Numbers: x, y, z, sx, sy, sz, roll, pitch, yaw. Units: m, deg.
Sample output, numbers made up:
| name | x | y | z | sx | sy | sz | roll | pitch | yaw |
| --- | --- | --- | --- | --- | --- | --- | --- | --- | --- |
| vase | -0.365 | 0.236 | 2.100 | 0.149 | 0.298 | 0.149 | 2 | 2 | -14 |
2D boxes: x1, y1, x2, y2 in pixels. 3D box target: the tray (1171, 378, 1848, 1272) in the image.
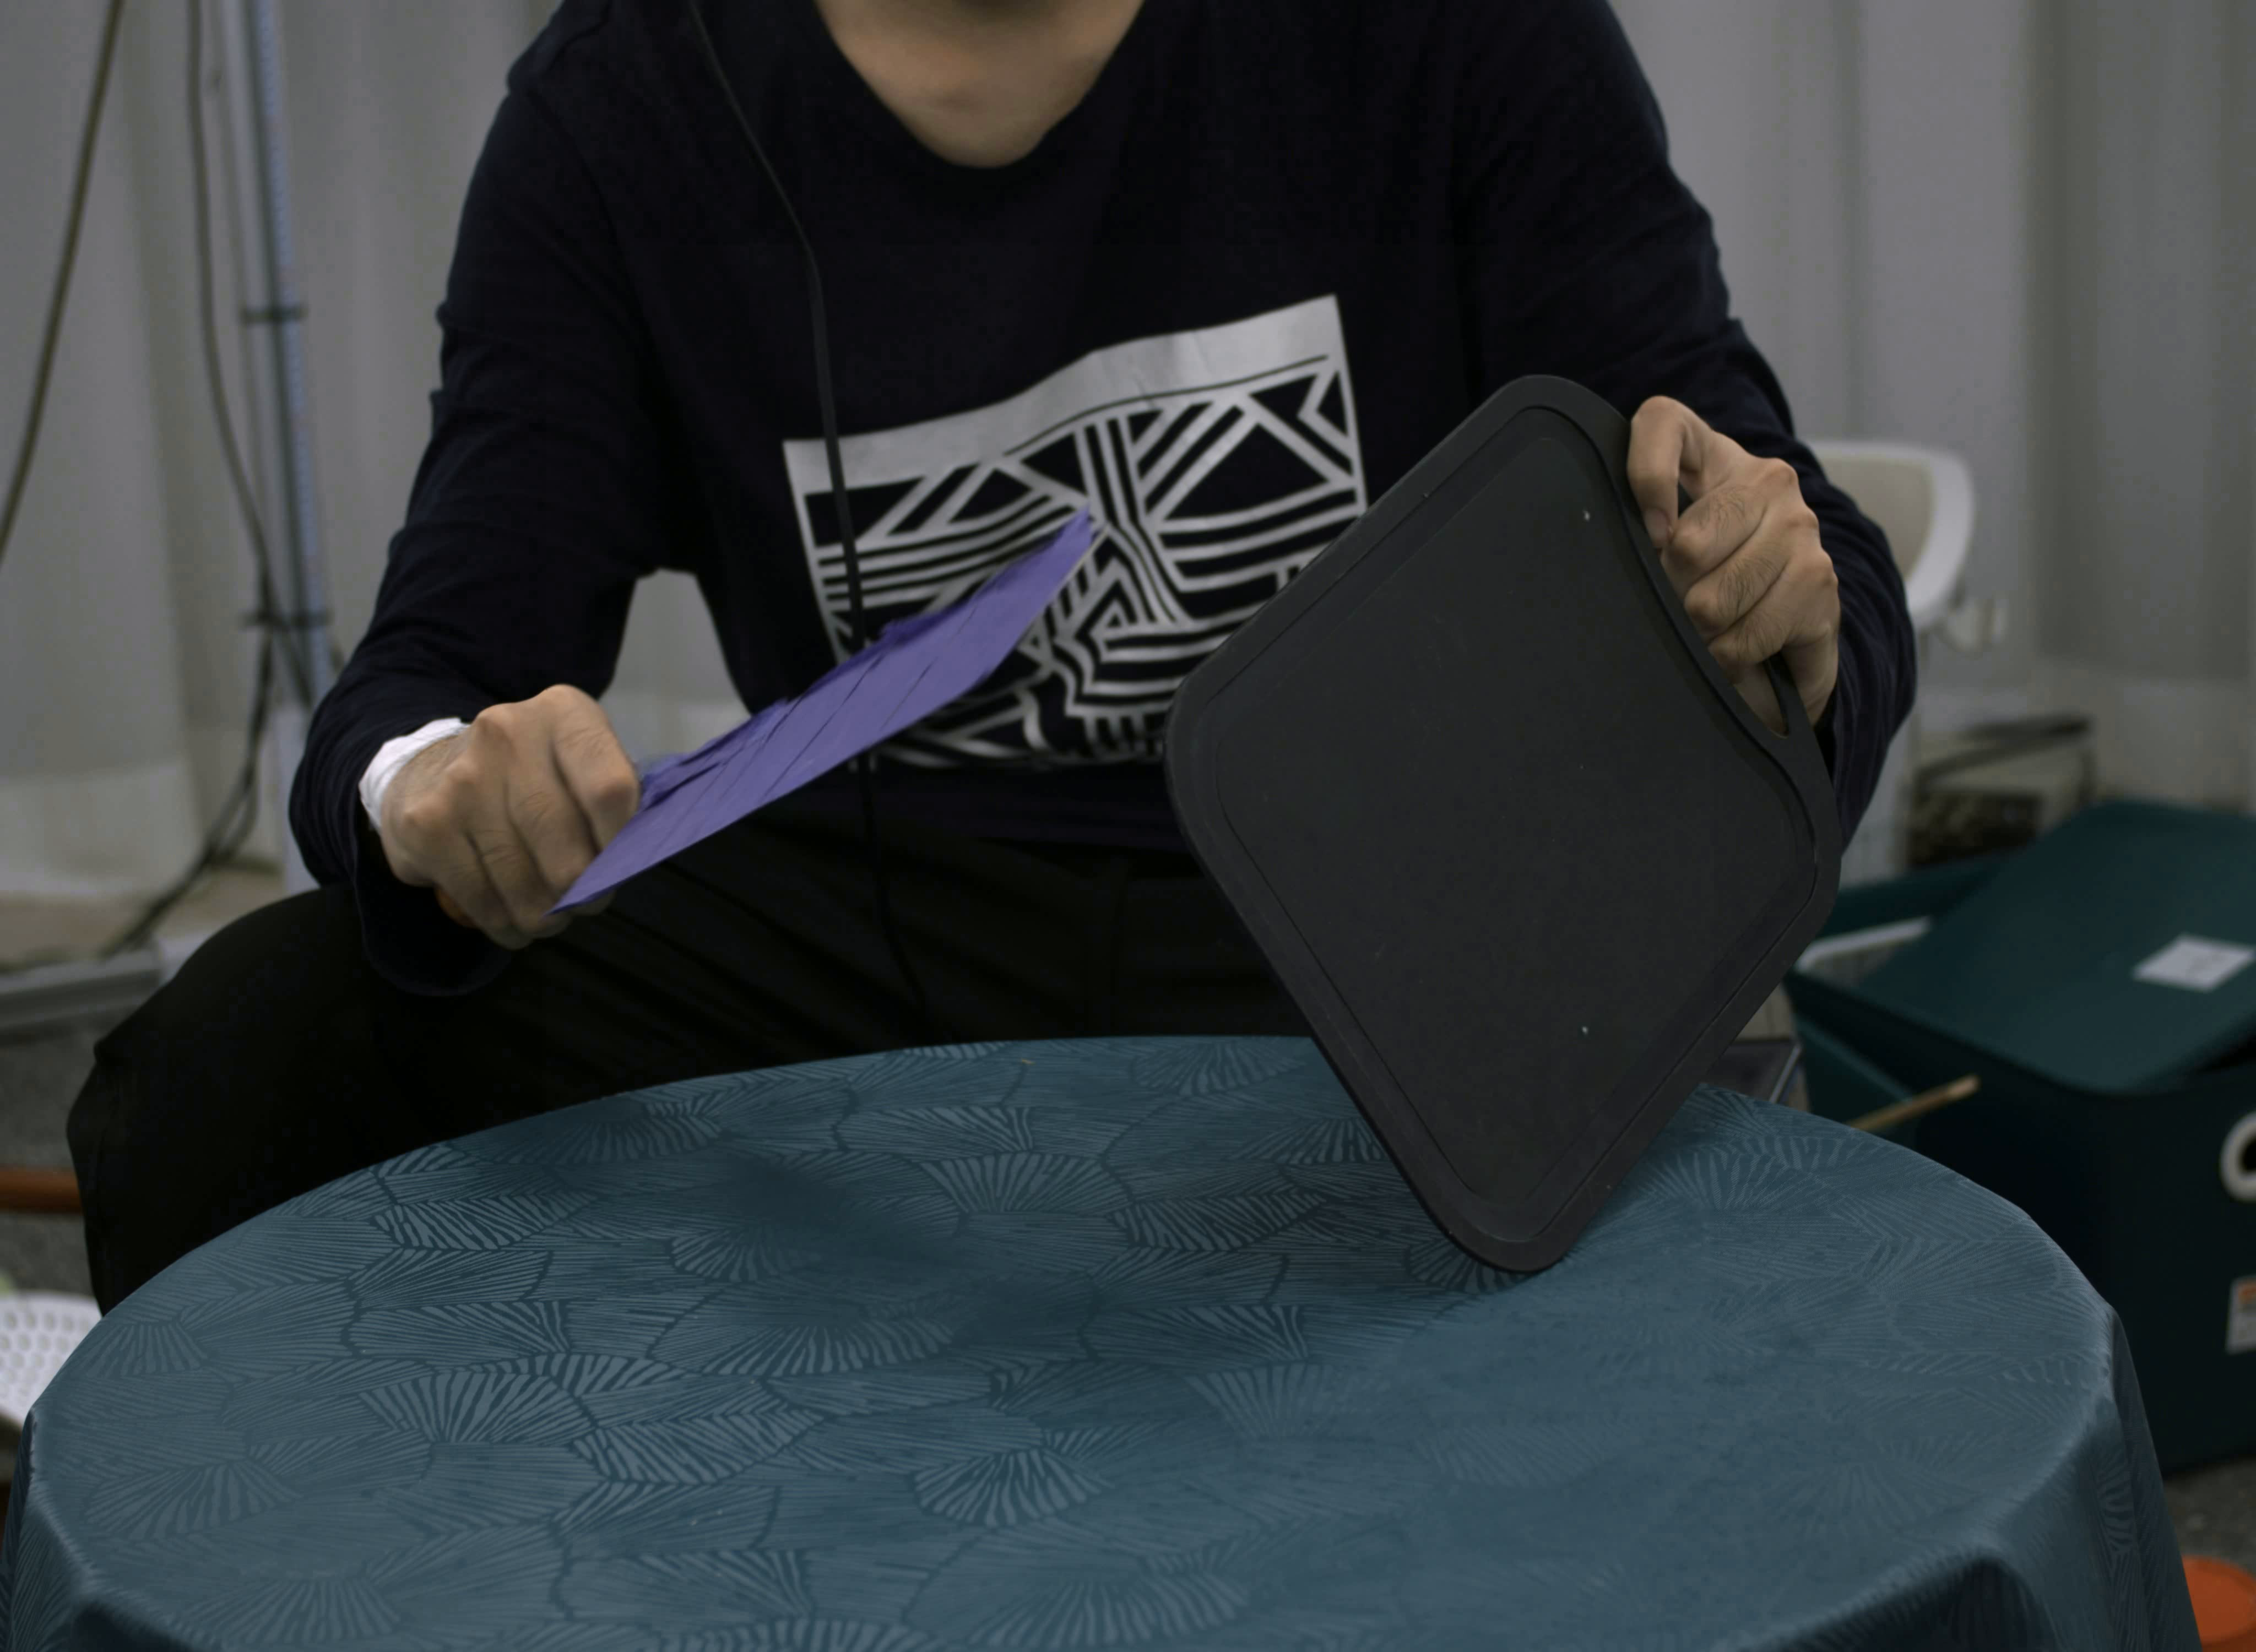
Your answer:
| name | x | y | z | sx | sy | sz | roll | pitch | yaw |
| --- | --- | --- | --- | --- | --- | --- | --- | --- | --- |
| tray | 0.130 | -0.012 | 1.713 | 0.010 | 0.210 | 0.327 | -26 | 10 | 39 |

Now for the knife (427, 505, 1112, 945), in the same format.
| name | x | y | z | sx | sy | sz | roll | pitch | yaw |
| --- | --- | --- | --- | --- | --- | --- | --- | --- | --- |
| knife | -0.131 | -0.015 | 1.683 | 0.314 | 0.032 | 0.104 | -29 | 14 | 41 |
